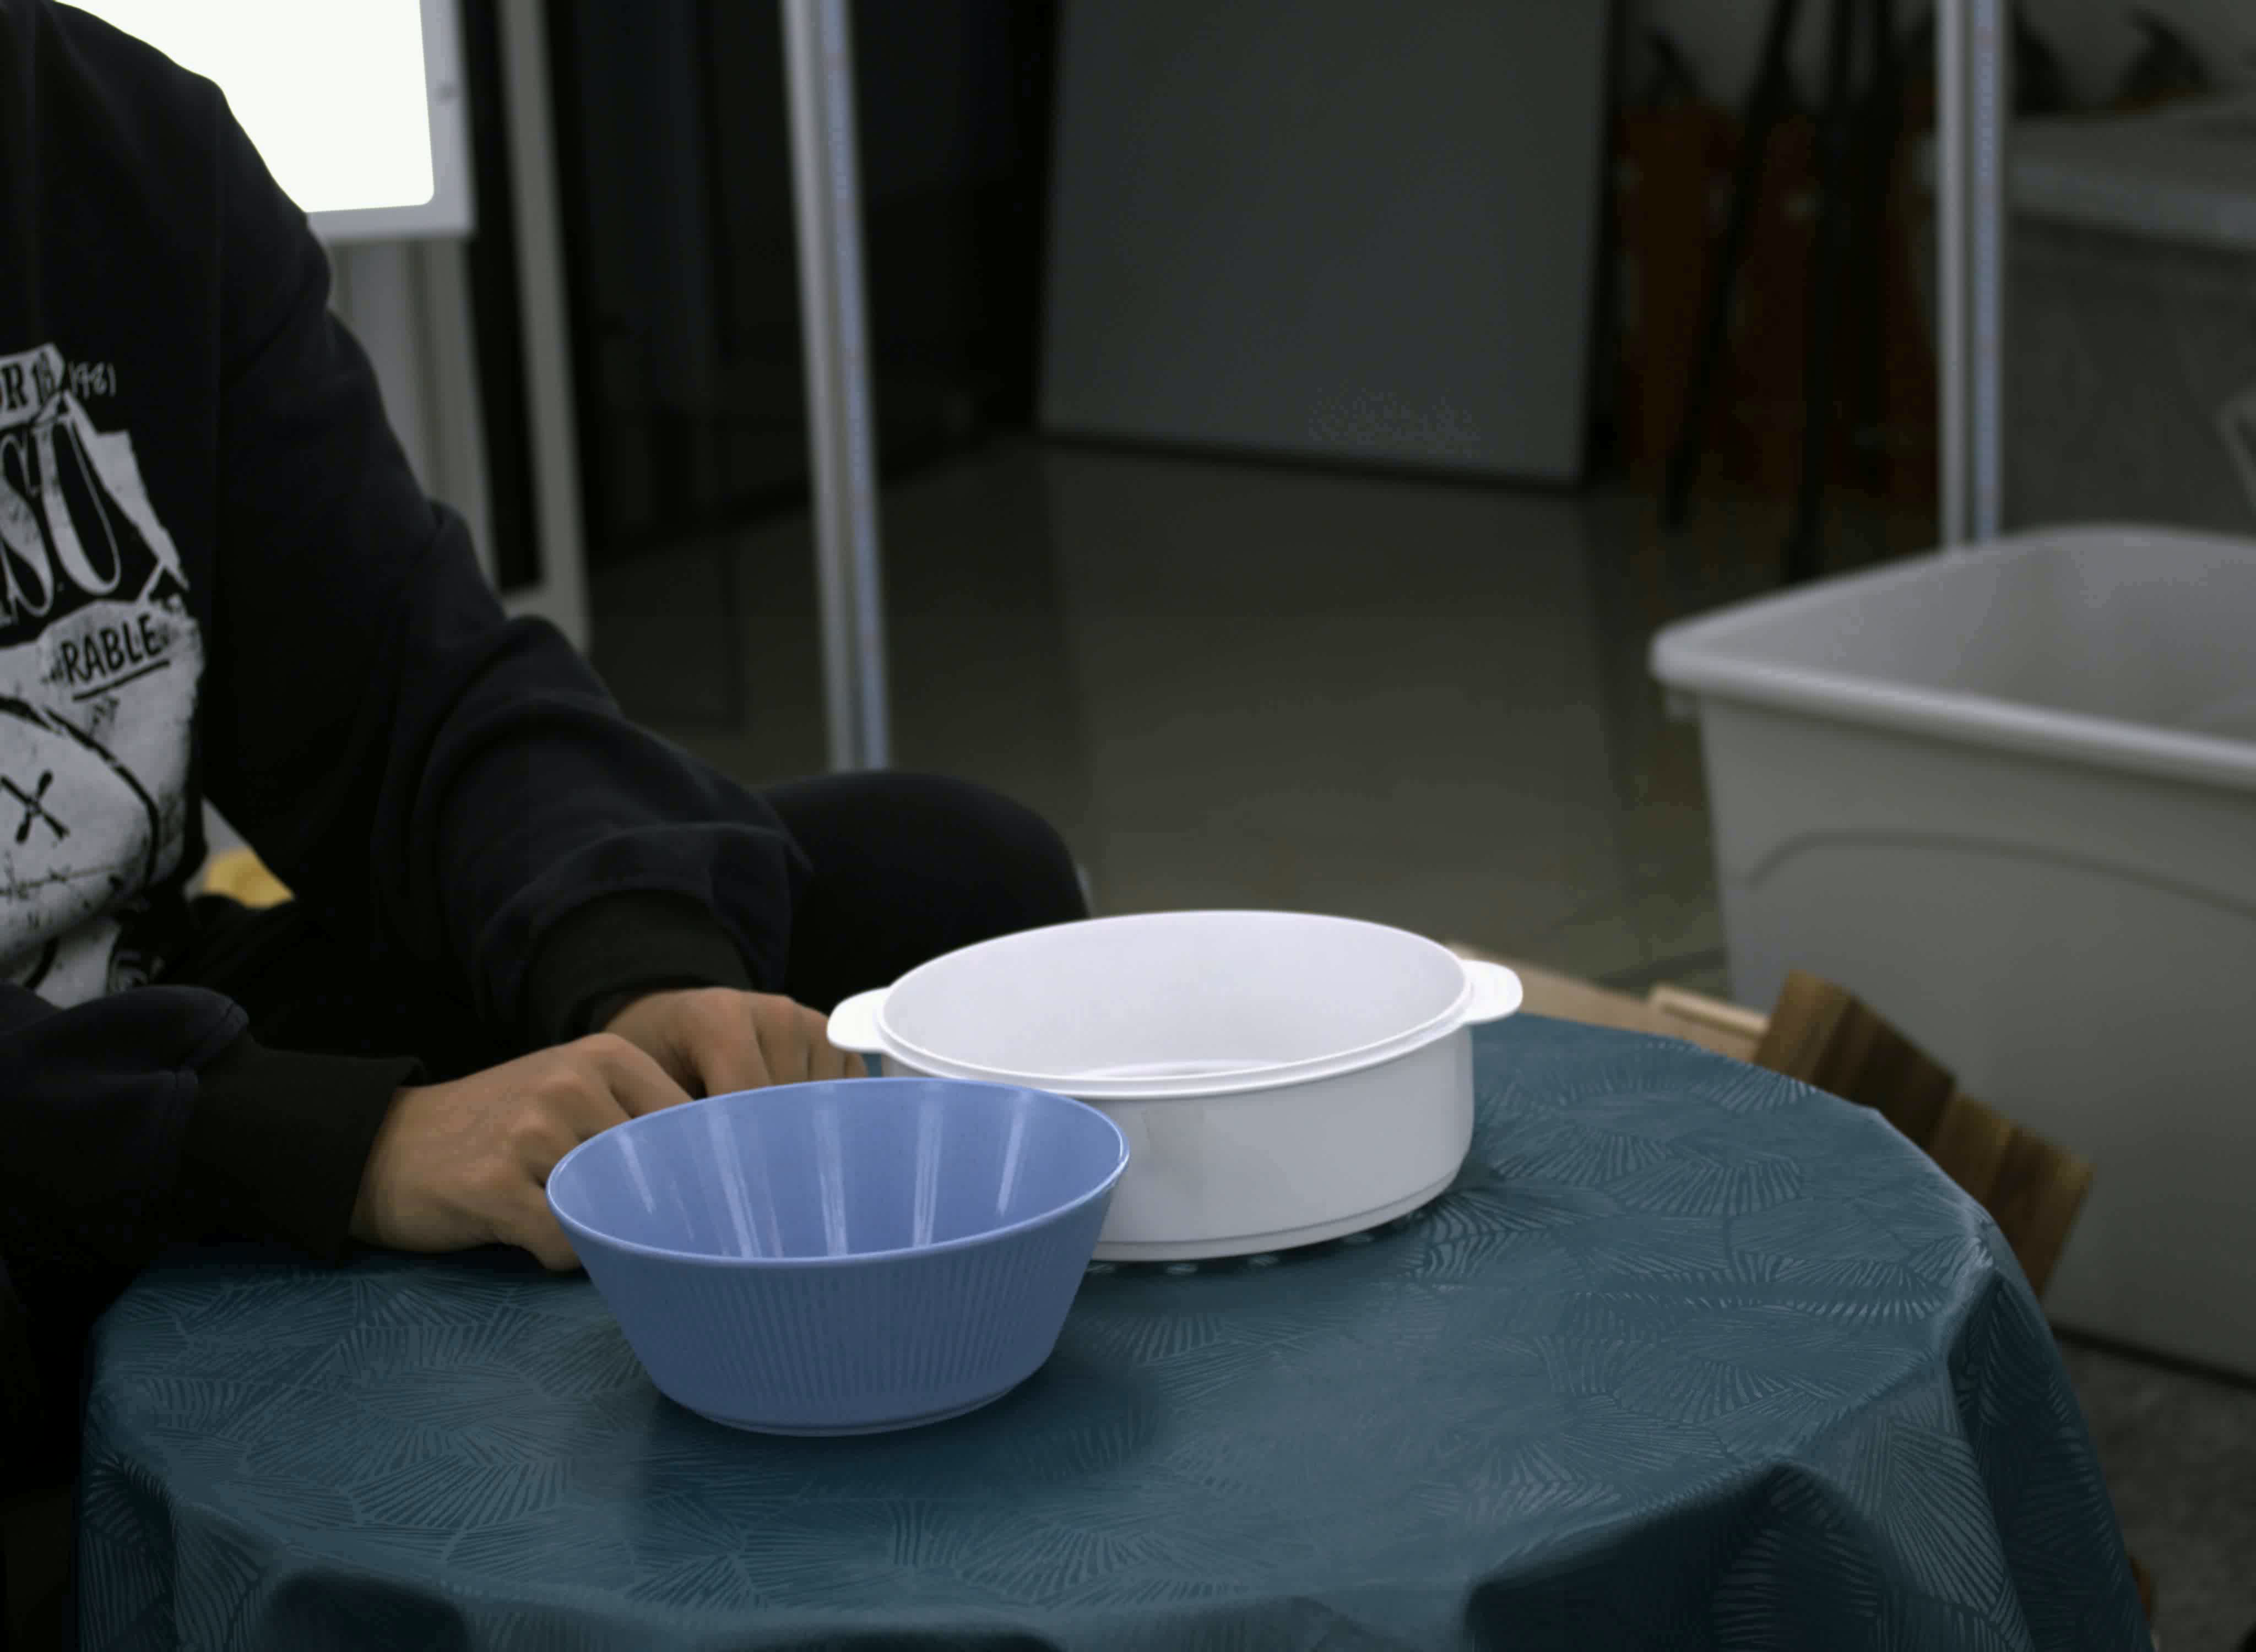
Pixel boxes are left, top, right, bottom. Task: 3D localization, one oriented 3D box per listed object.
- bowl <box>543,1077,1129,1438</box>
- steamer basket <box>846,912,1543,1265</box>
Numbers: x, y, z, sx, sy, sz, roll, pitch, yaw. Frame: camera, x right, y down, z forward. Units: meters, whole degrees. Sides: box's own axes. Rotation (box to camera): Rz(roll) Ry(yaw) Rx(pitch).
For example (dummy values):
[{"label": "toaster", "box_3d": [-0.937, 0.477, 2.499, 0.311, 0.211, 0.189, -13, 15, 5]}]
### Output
[{"label": "bowl", "box_3d": [-0.085, 0.131, 1.608, 0.174, 0.071, 0.176, -3, 15, 0]}, {"label": "steamer basket", "box_3d": [0.022, 0.085, 1.767, 0.228, 0.070, 0.202, -1, 14, 3]}]
